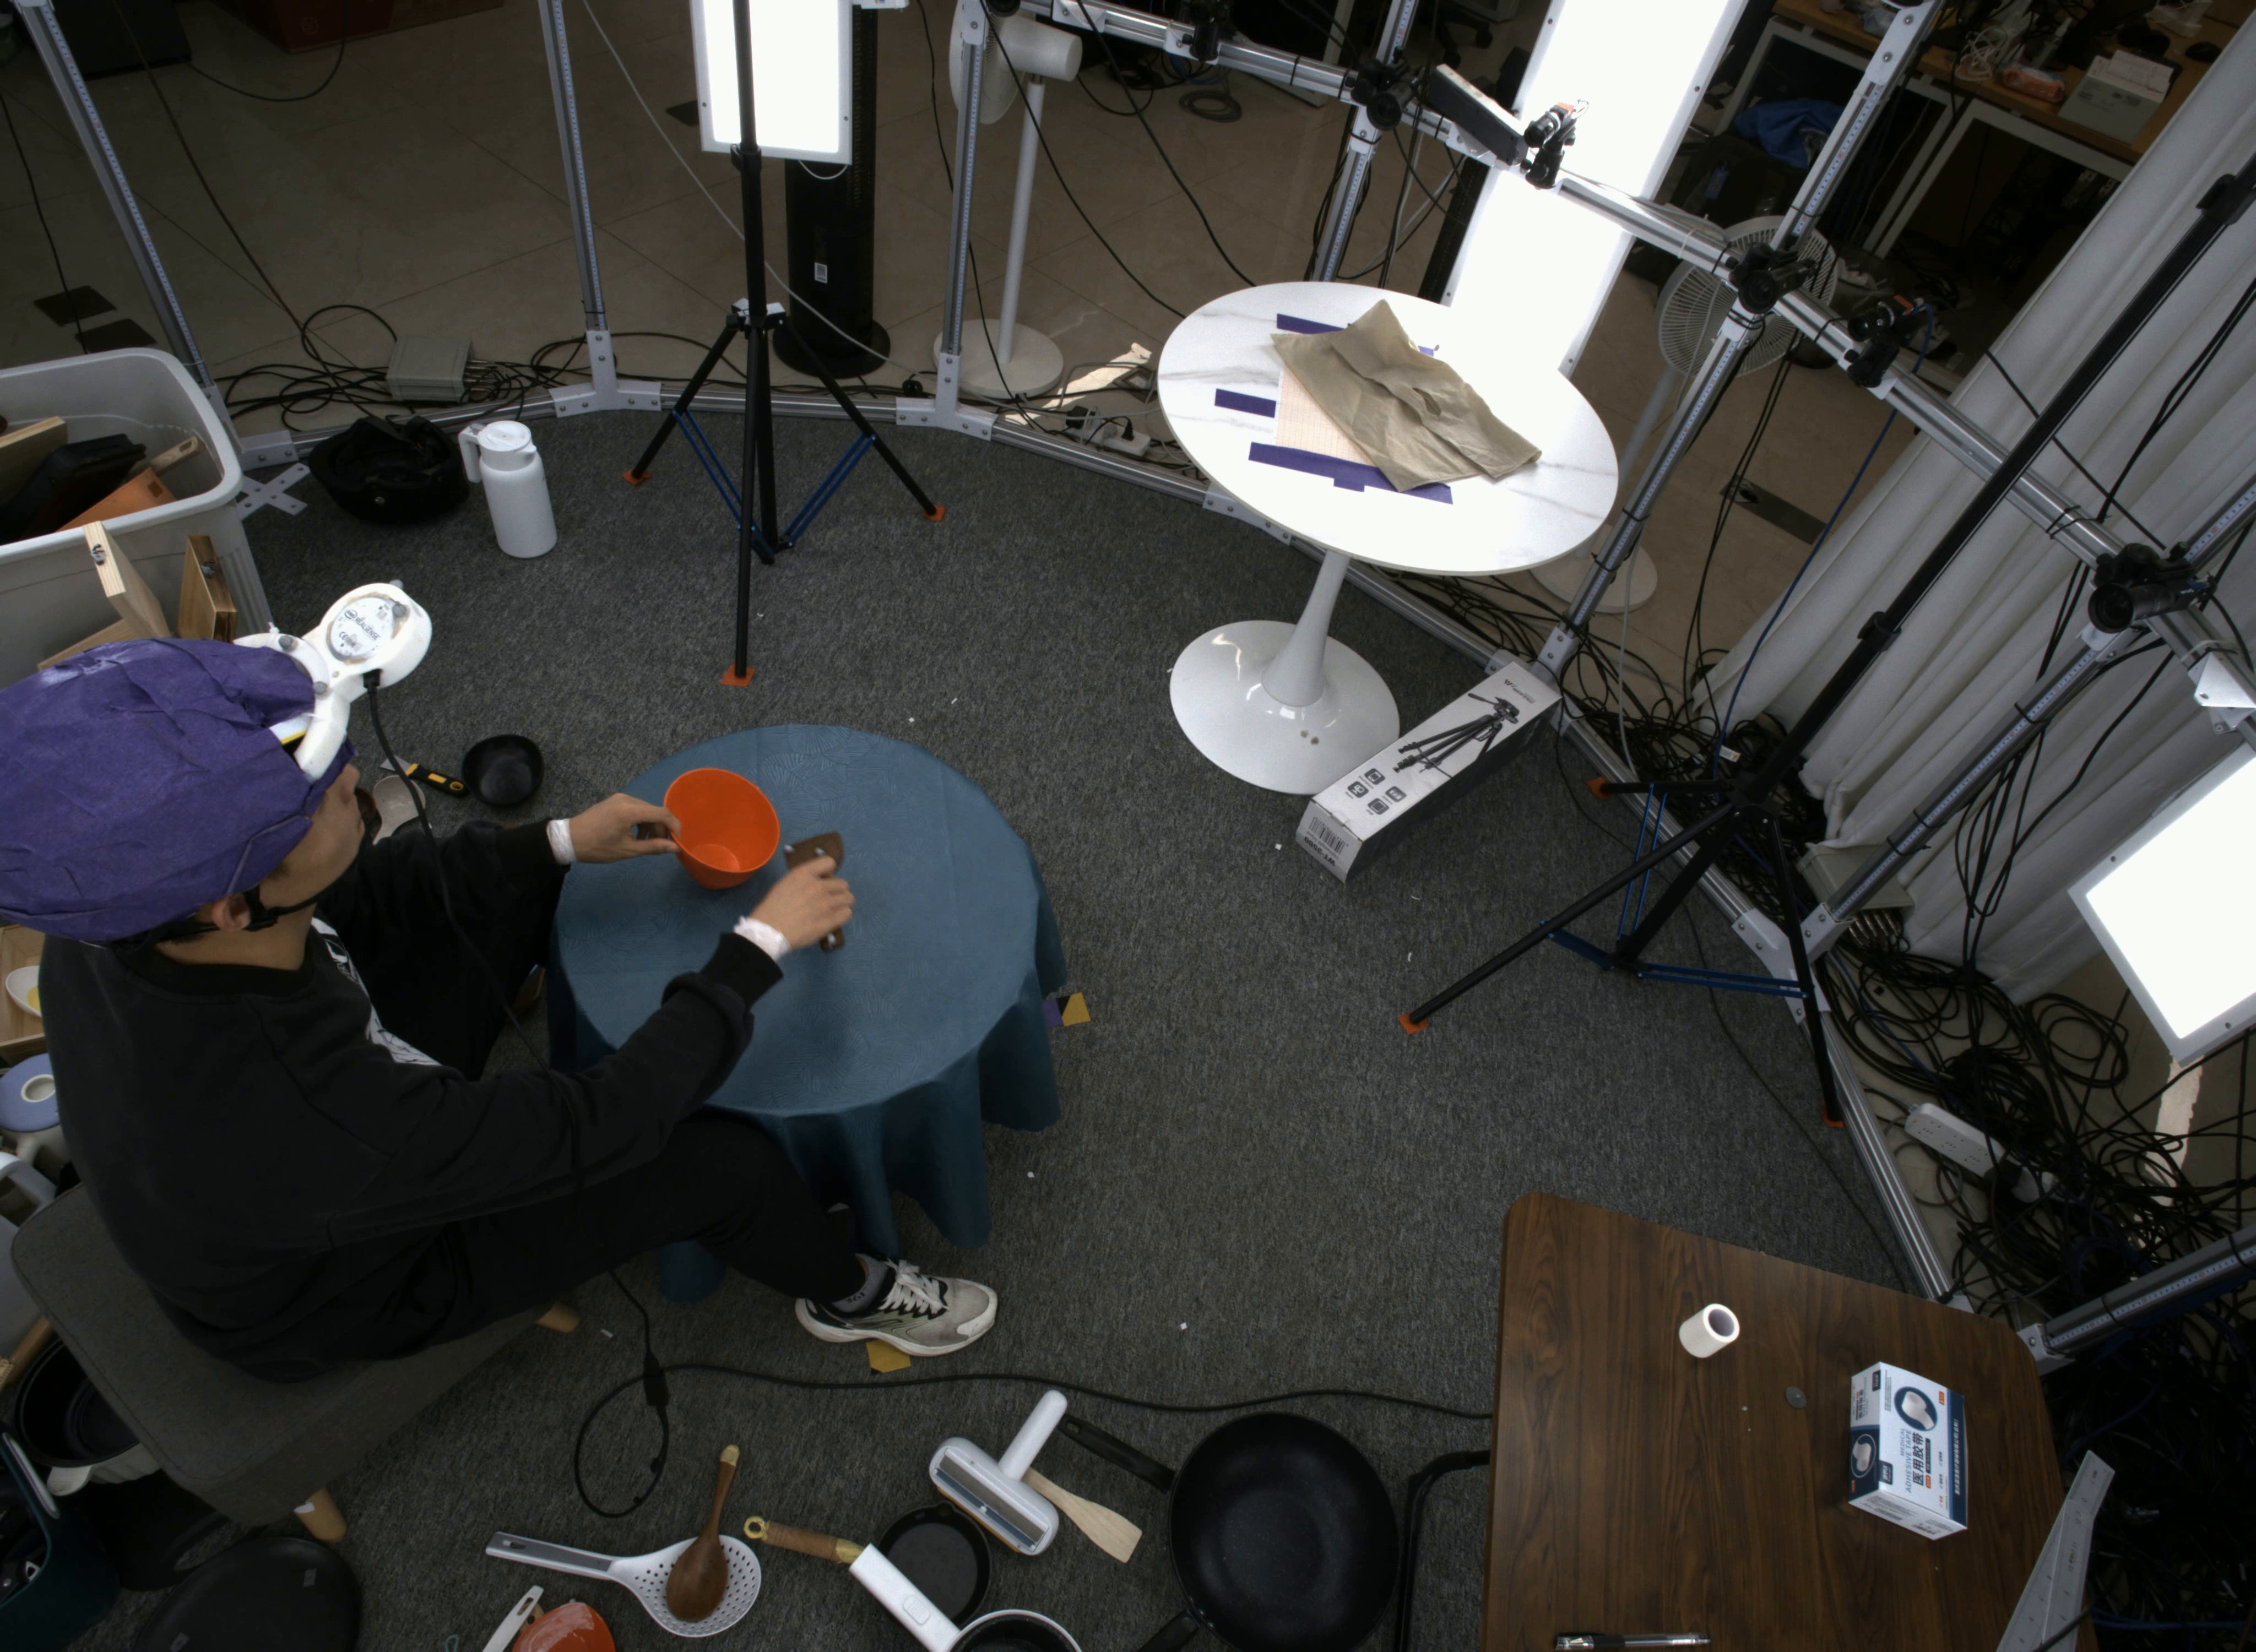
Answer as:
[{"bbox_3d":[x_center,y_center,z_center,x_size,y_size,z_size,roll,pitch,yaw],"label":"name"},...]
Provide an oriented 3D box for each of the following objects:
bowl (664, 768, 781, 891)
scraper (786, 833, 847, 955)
[{"bbox_3d":[-0.516,0.015,1.617,0.150,0.105,0.145,20,43,-18],"label":"bowl"},{"bbox_3d":[-0.360,0.079,1.538,0.075,0.011,0.204,-16,41,-8],"label":"scraper"}]
